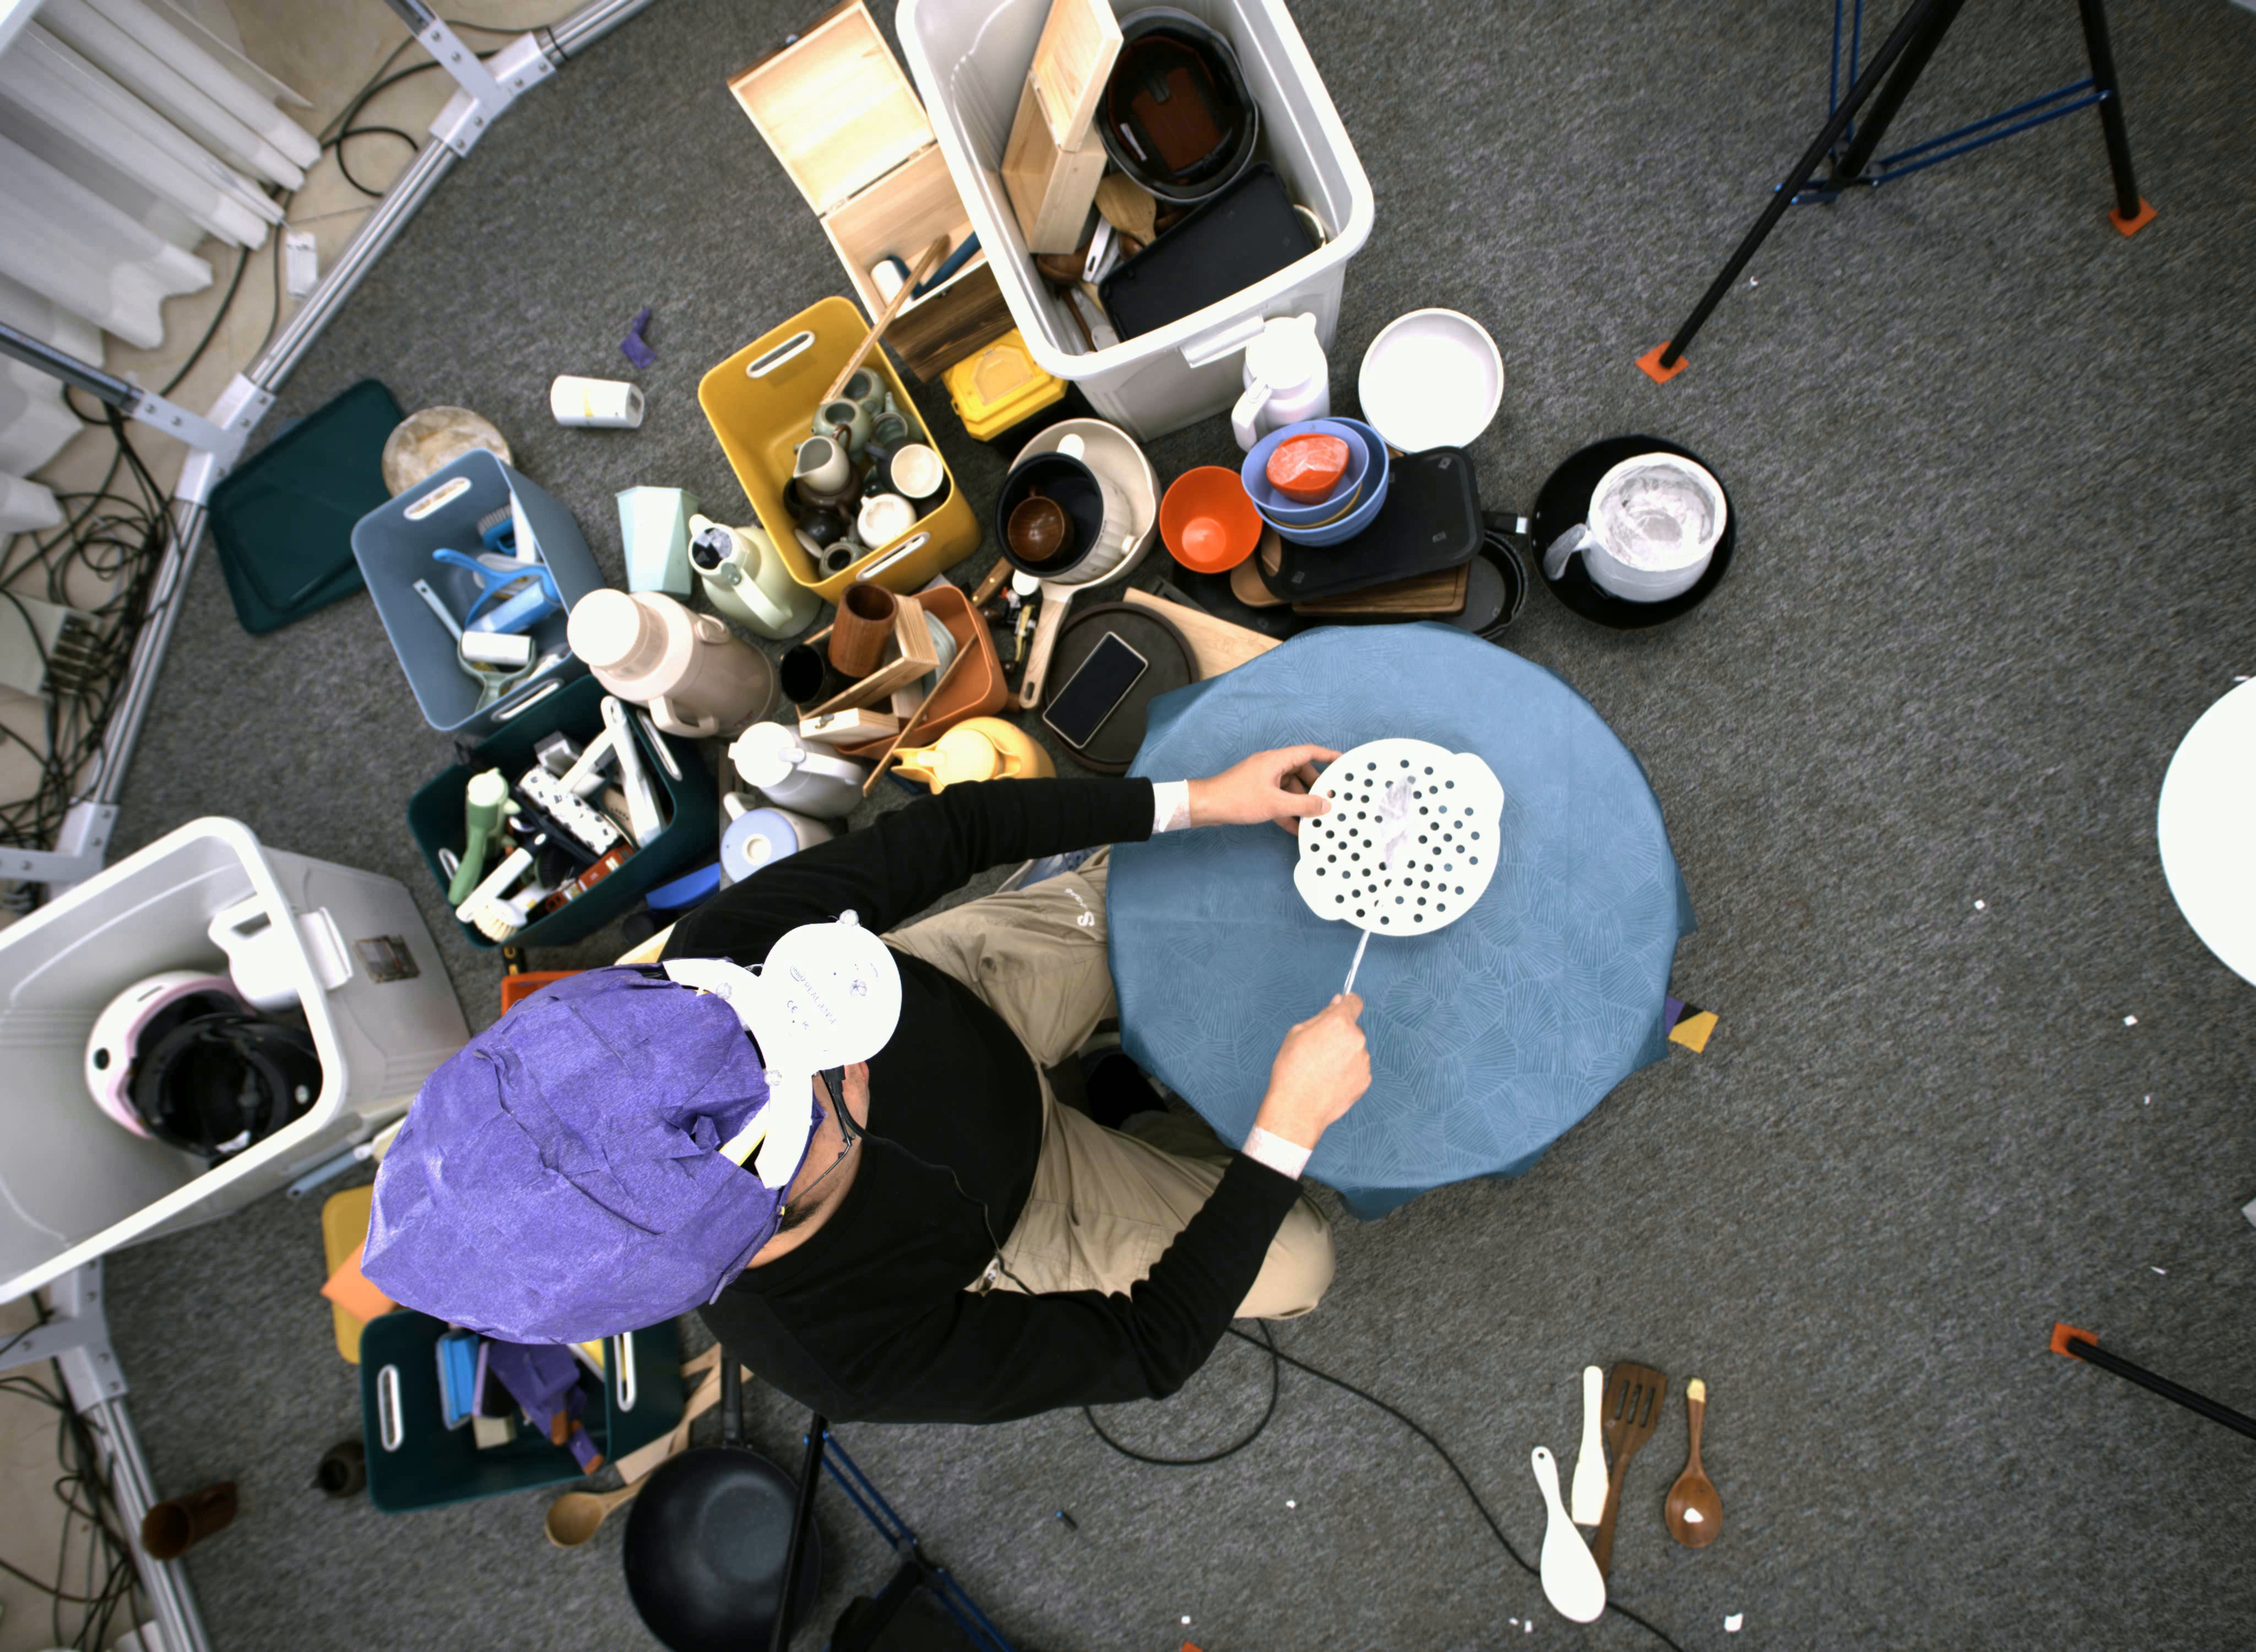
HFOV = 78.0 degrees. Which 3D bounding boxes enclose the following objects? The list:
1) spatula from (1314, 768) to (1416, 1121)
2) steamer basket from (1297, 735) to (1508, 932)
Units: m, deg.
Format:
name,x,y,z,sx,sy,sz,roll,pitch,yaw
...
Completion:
name,x,y,z,sx,sy,sz,roll,pitch,yaw
spatula,0.227,0.110,1.357,0.045,0.100,0.358,24,70,-4
steamer basket,0.281,0.009,1.423,0.231,0.069,0.201,-34,82,5
